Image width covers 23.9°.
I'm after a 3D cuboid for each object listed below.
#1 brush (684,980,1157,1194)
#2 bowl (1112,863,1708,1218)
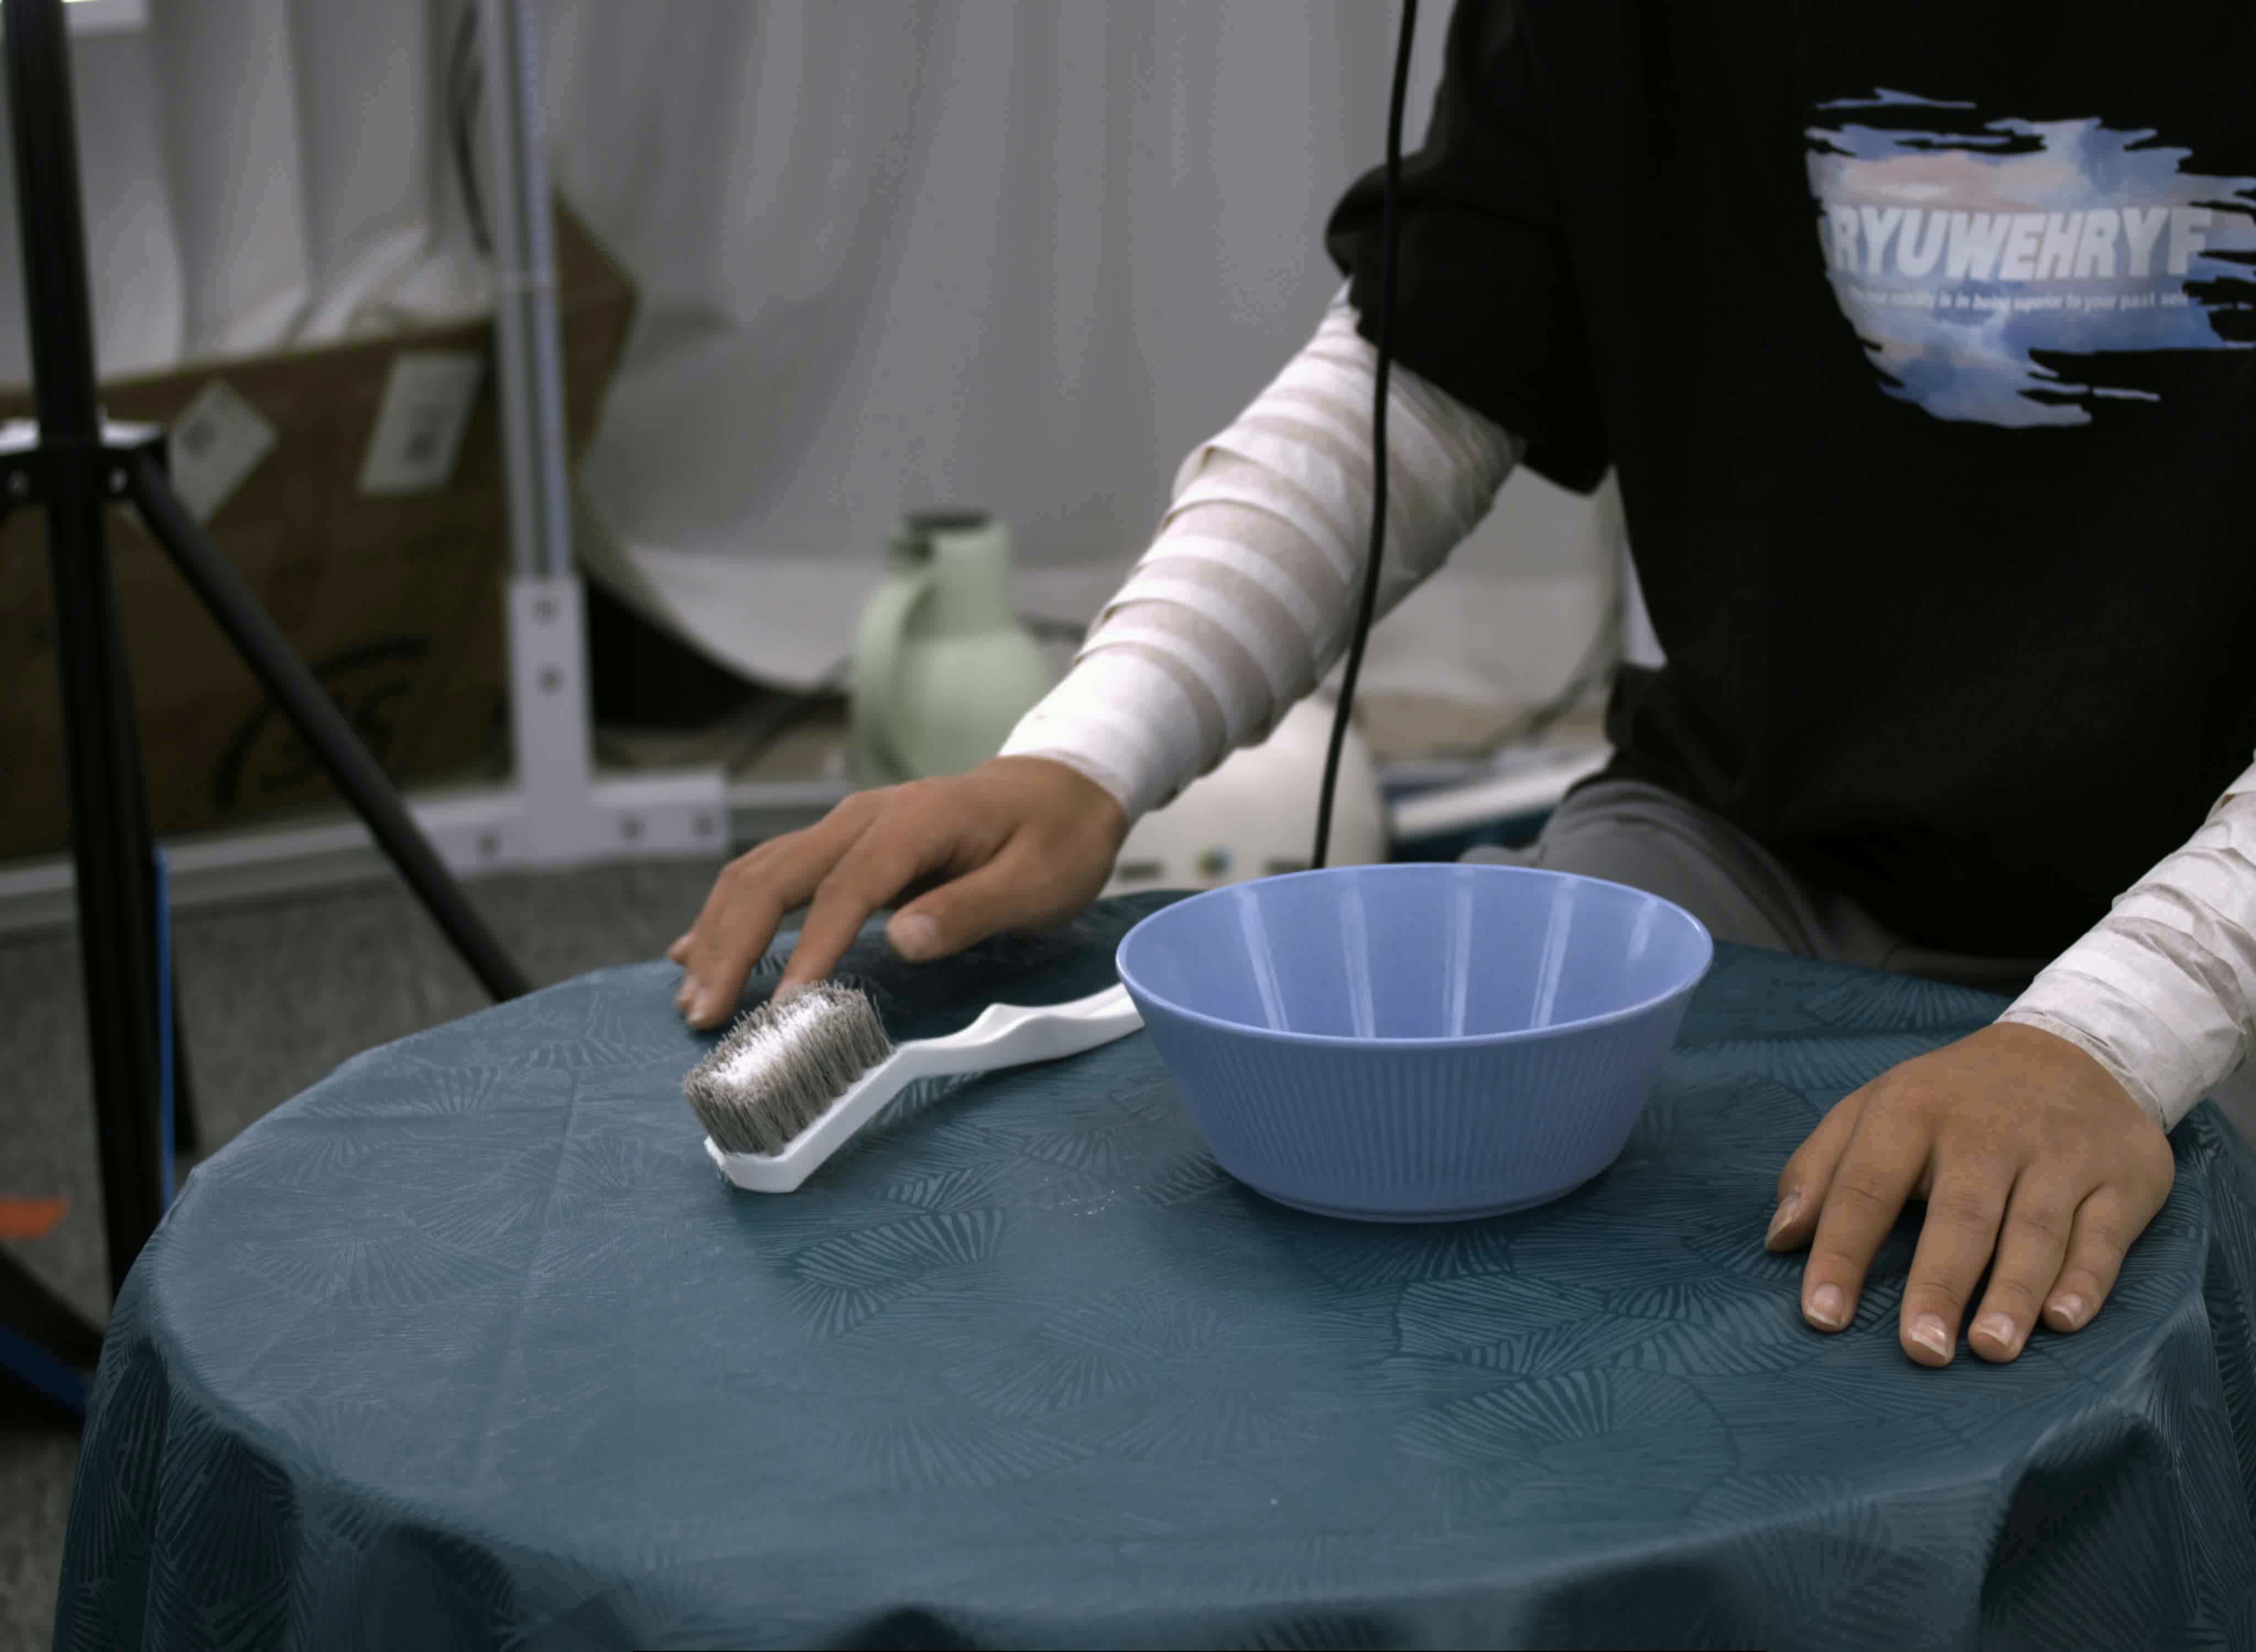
[{"bbox_3d":[-0.048,0.058,1.653,0.035,0.050,0.238,12,22,37],"label":"brush"},{"bbox_3d":[0.083,0.066,1.566,0.175,0.070,0.177,-2,16,-1],"label":"bowl"}]
